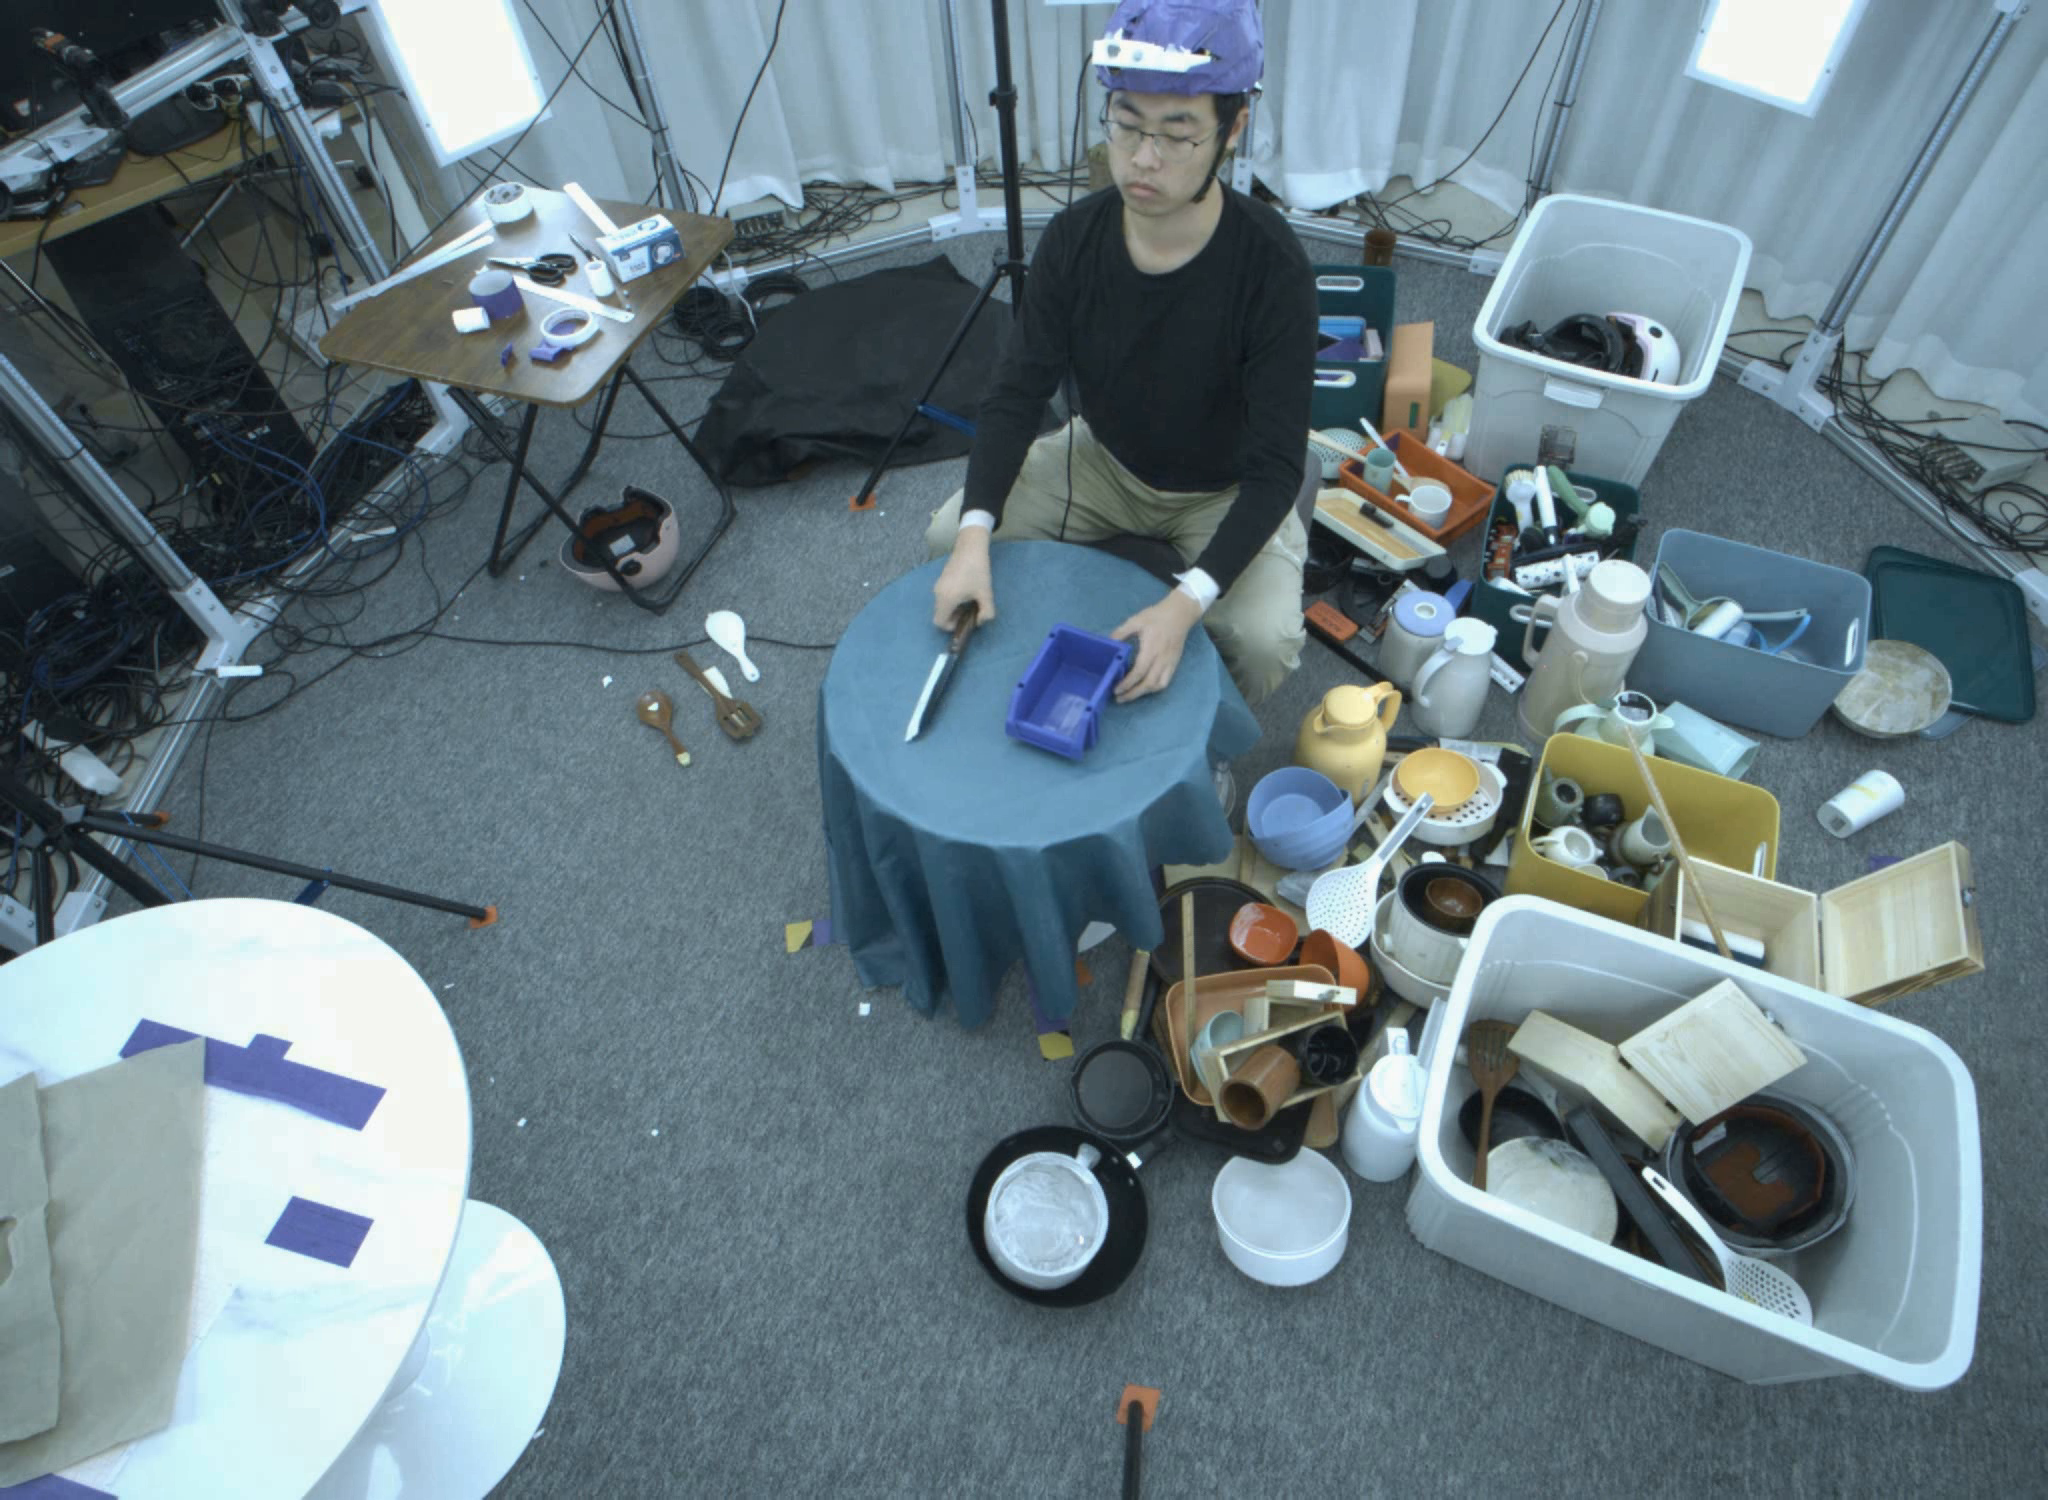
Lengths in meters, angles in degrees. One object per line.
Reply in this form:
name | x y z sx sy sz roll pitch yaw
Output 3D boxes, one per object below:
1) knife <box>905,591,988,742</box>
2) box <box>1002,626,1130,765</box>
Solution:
knife | -0.118 -0.129 1.861 0.049 0.020 0.289 -3 52 43
box | 0.063 -0.075 1.789 0.123 0.083 0.180 22 56 17
